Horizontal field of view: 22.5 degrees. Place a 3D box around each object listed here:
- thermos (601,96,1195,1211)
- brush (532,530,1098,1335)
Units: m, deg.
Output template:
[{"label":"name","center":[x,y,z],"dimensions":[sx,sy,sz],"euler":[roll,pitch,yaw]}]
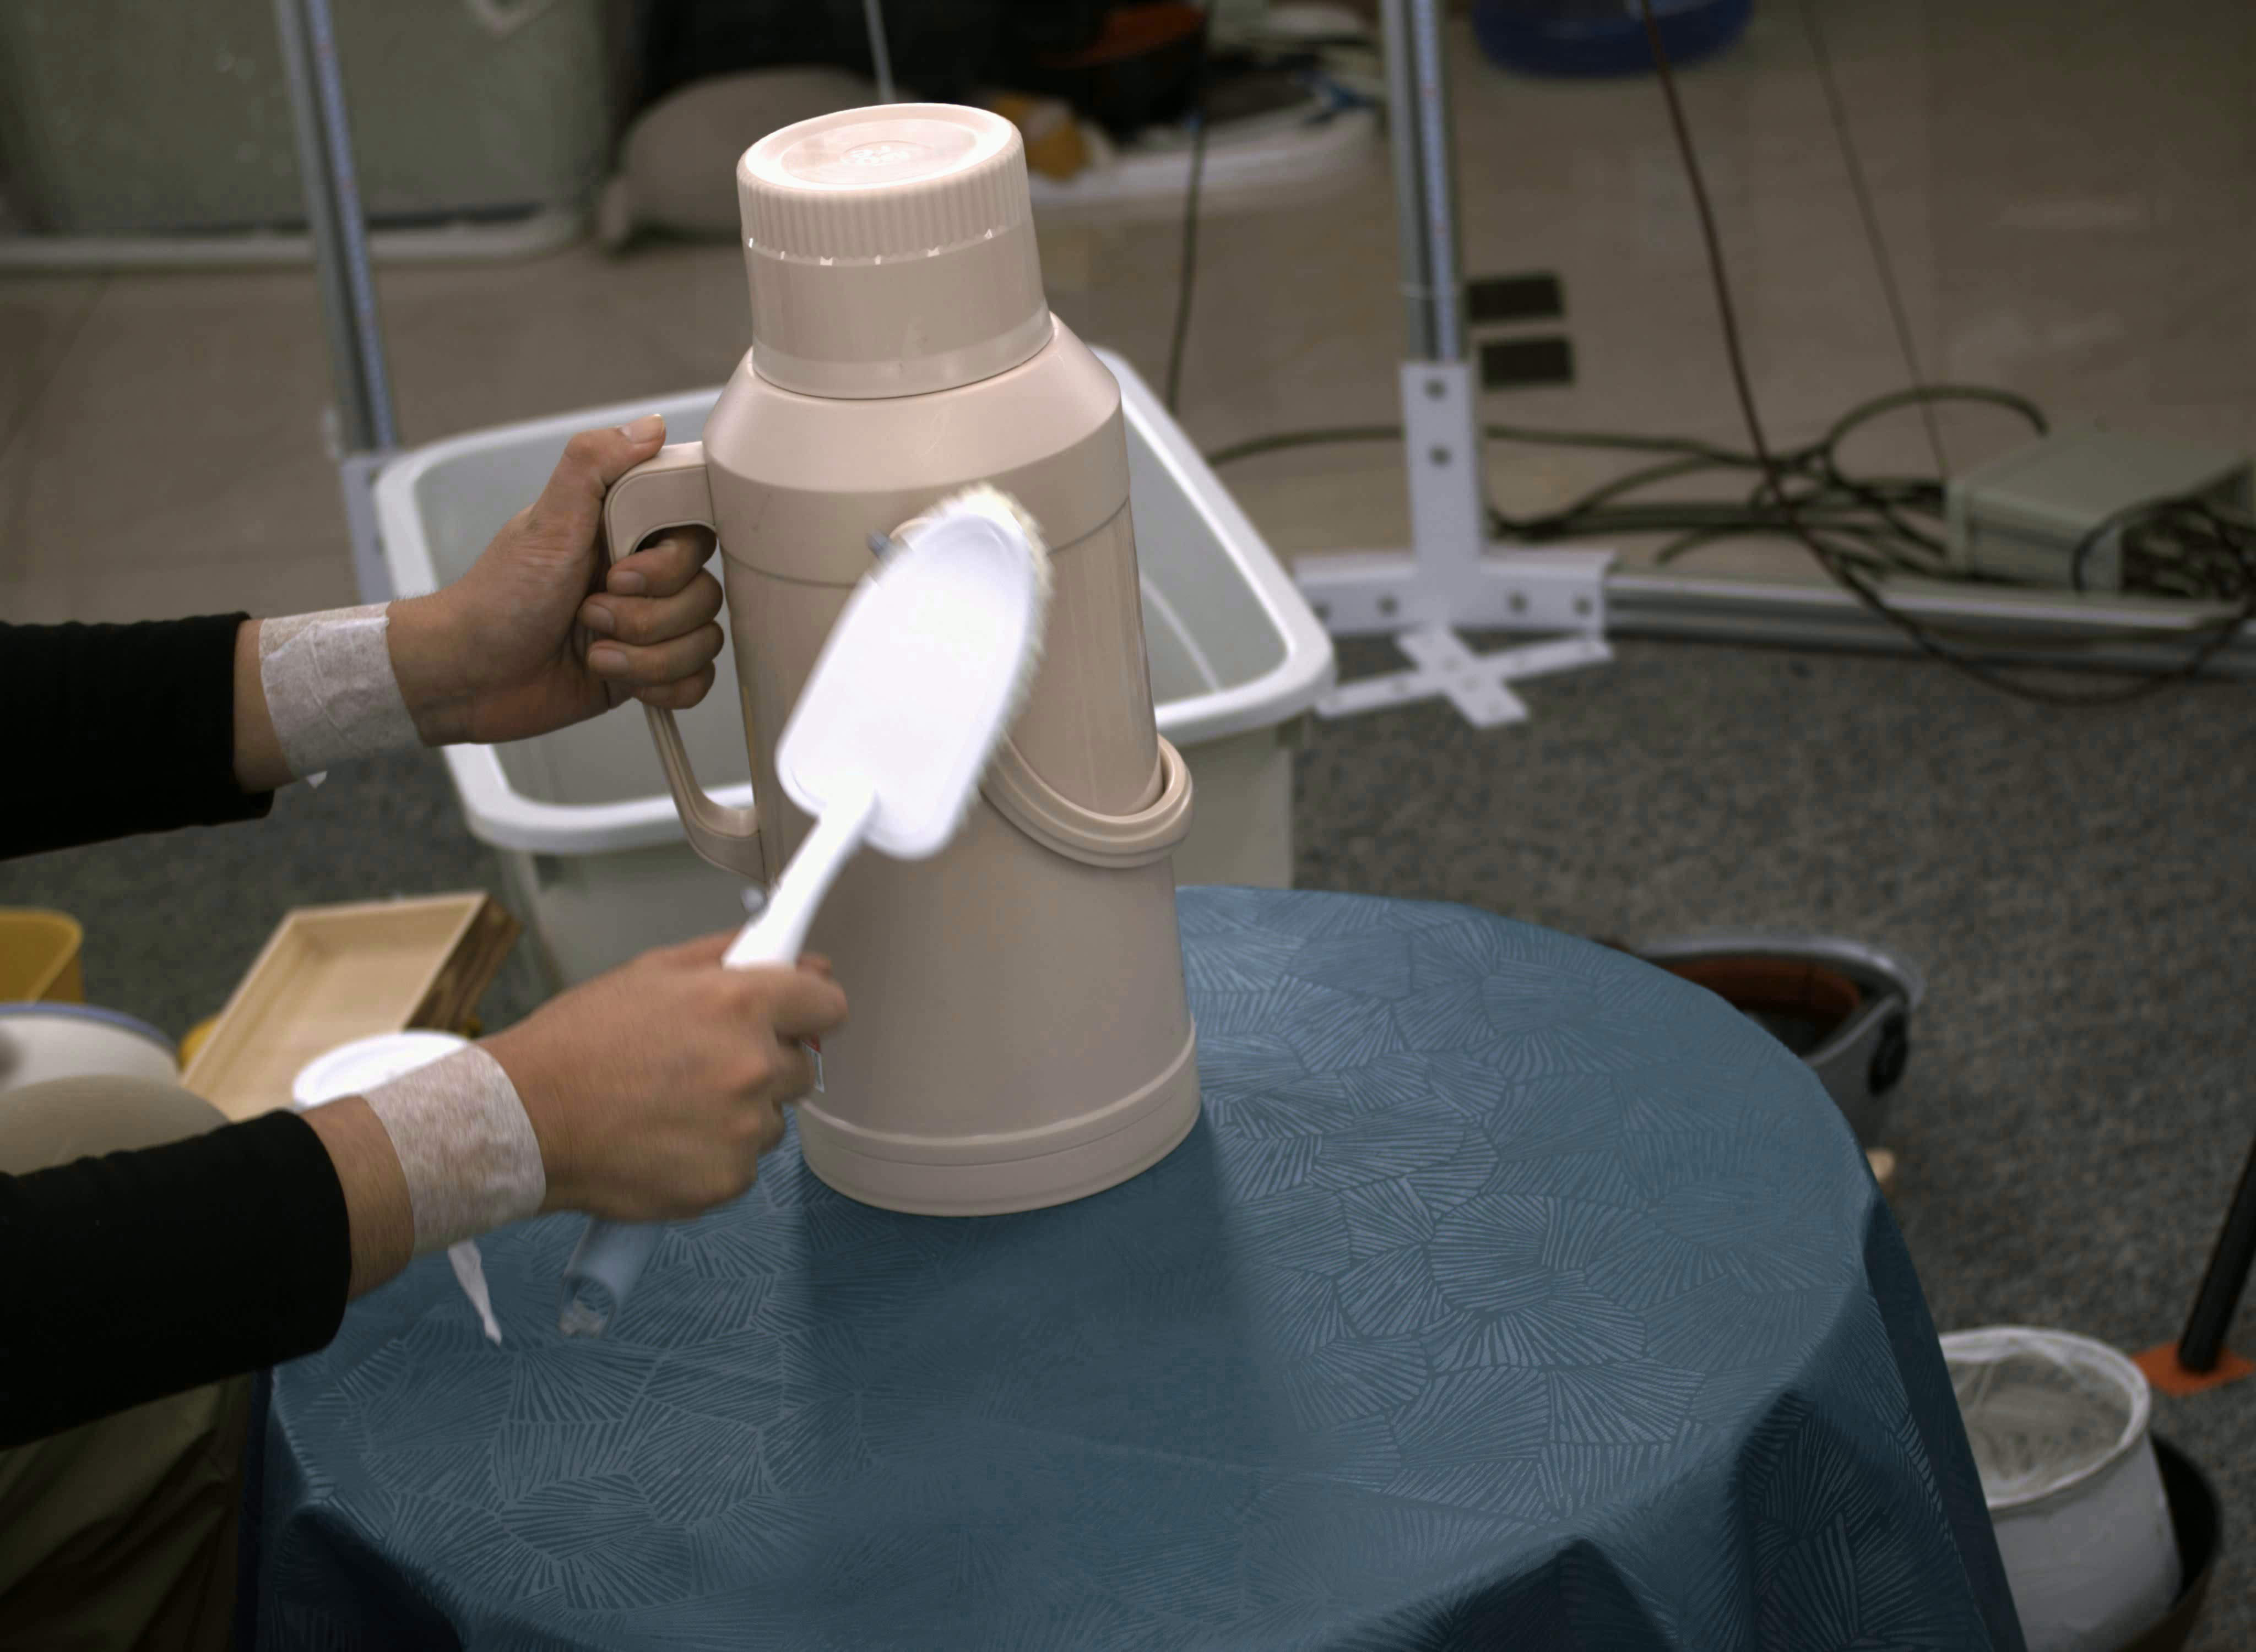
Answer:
[{"label":"thermos","center":[-0.085,-0.064,2.128],"dimensions":[0.206,0.413,0.172],"euler":[-7,27,-1]},{"label":"brush","center":[-0.112,0.037,1.986],"dimensions":[0.085,0.326,0.082],"euler":[30,4,-46]}]
